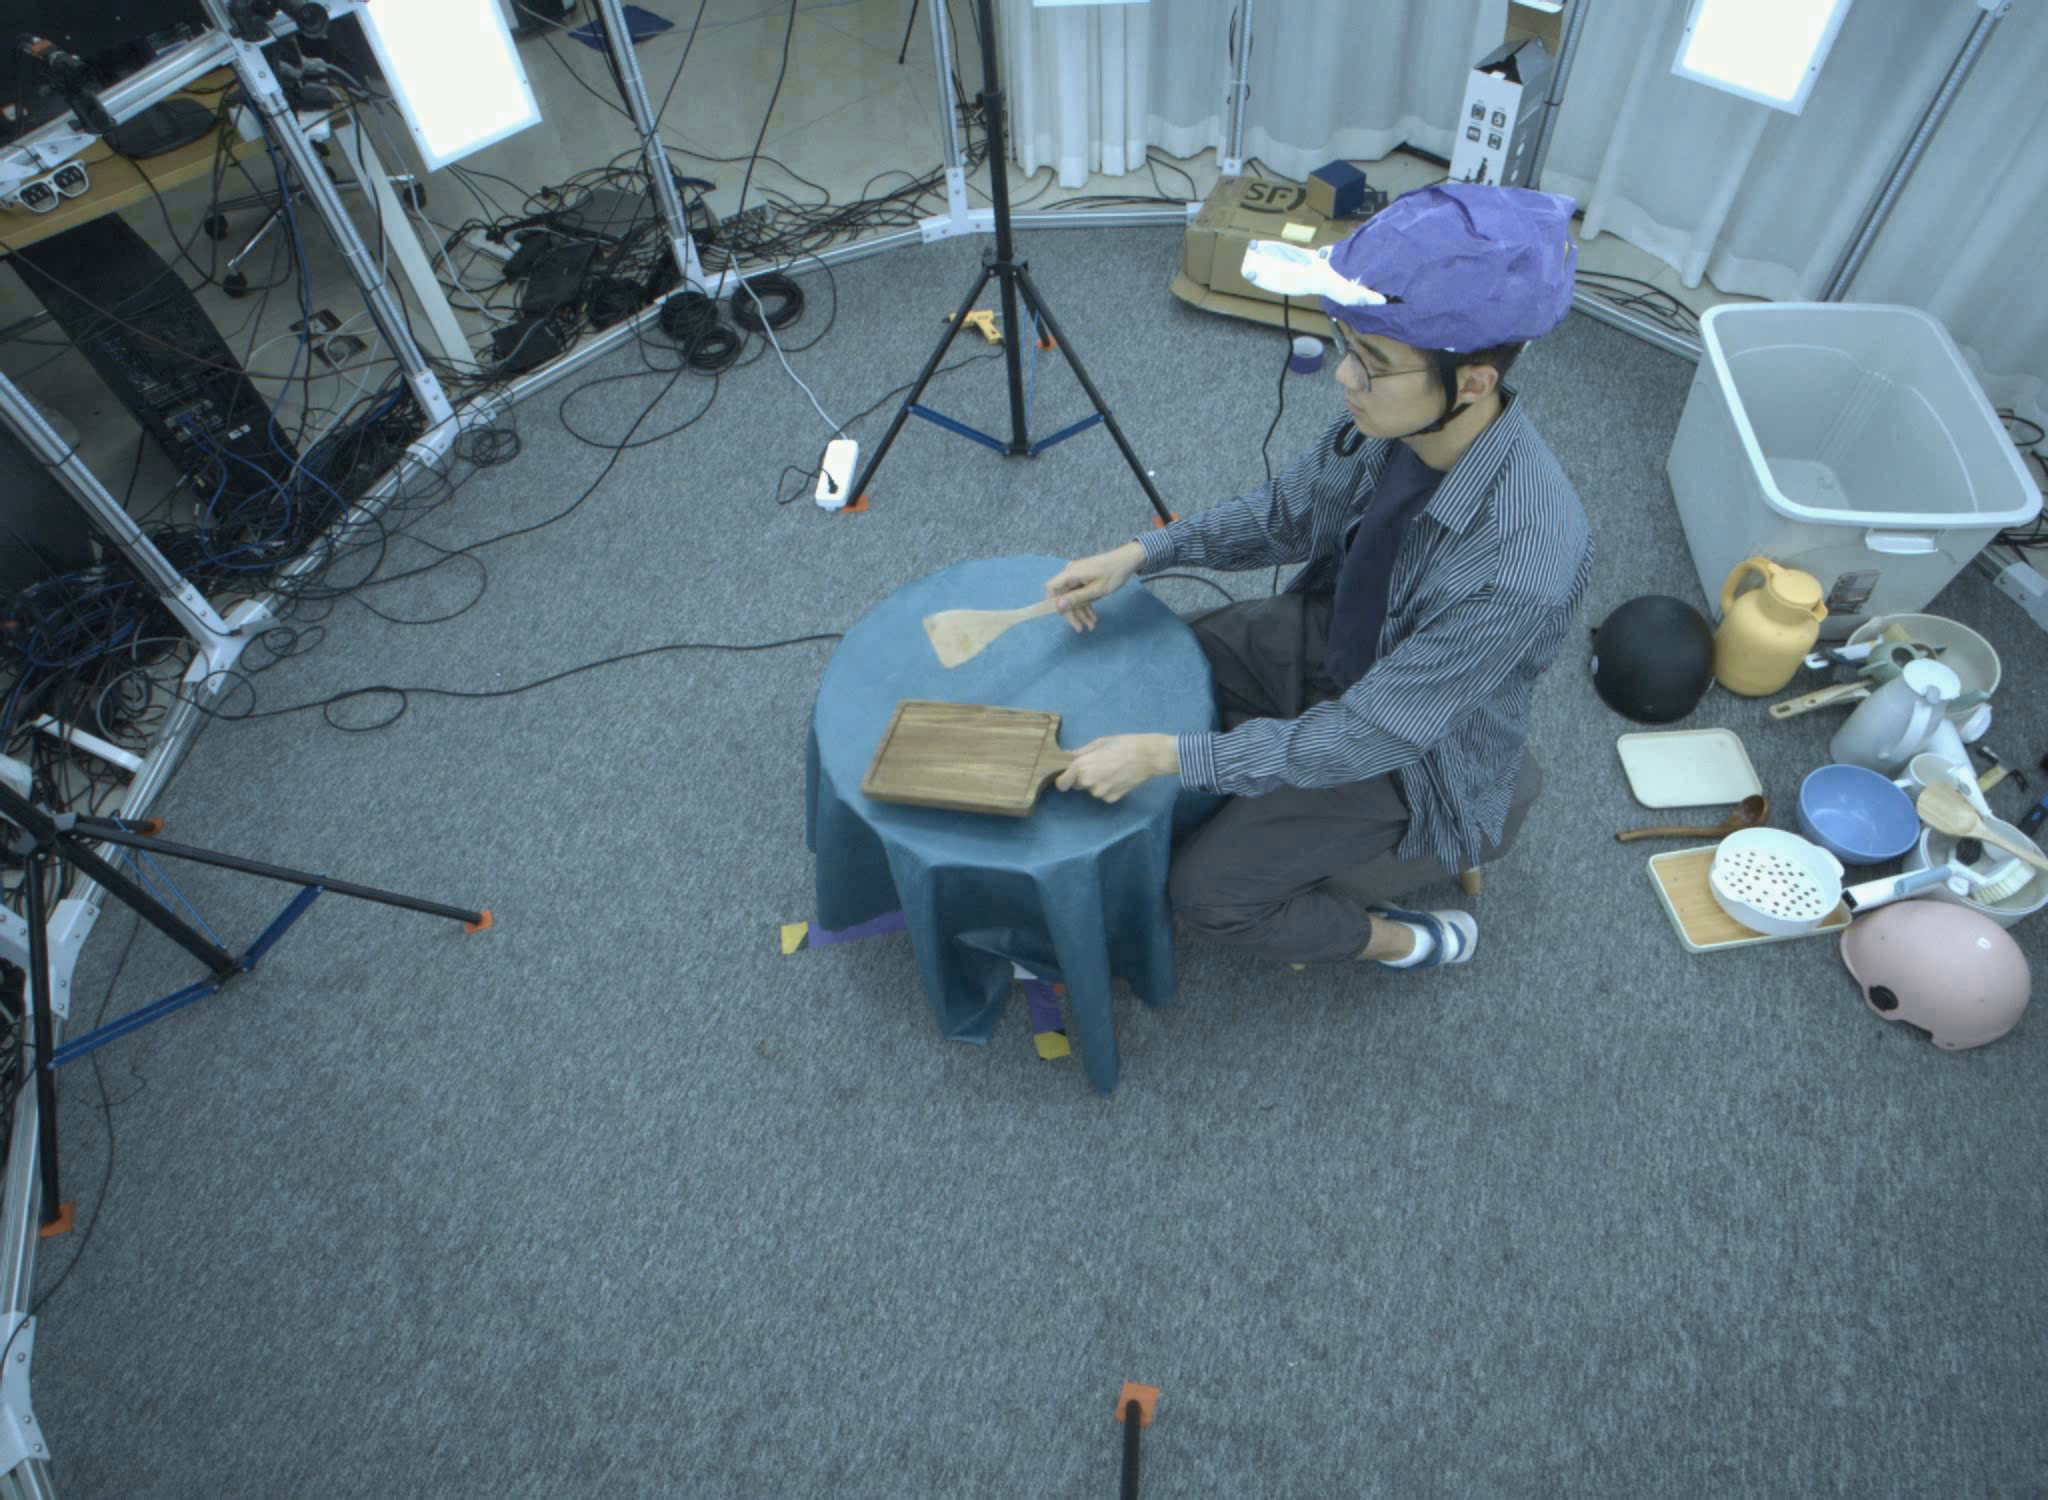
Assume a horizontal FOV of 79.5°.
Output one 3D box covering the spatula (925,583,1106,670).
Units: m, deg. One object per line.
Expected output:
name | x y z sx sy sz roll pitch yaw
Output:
spatula | -0.003 -0.197 1.822 0.332 0.016 0.080 -22 101 -32

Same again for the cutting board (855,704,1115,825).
cutting board | -0.046 0.021 1.732 0.349 0.023 0.200 6 46 12
